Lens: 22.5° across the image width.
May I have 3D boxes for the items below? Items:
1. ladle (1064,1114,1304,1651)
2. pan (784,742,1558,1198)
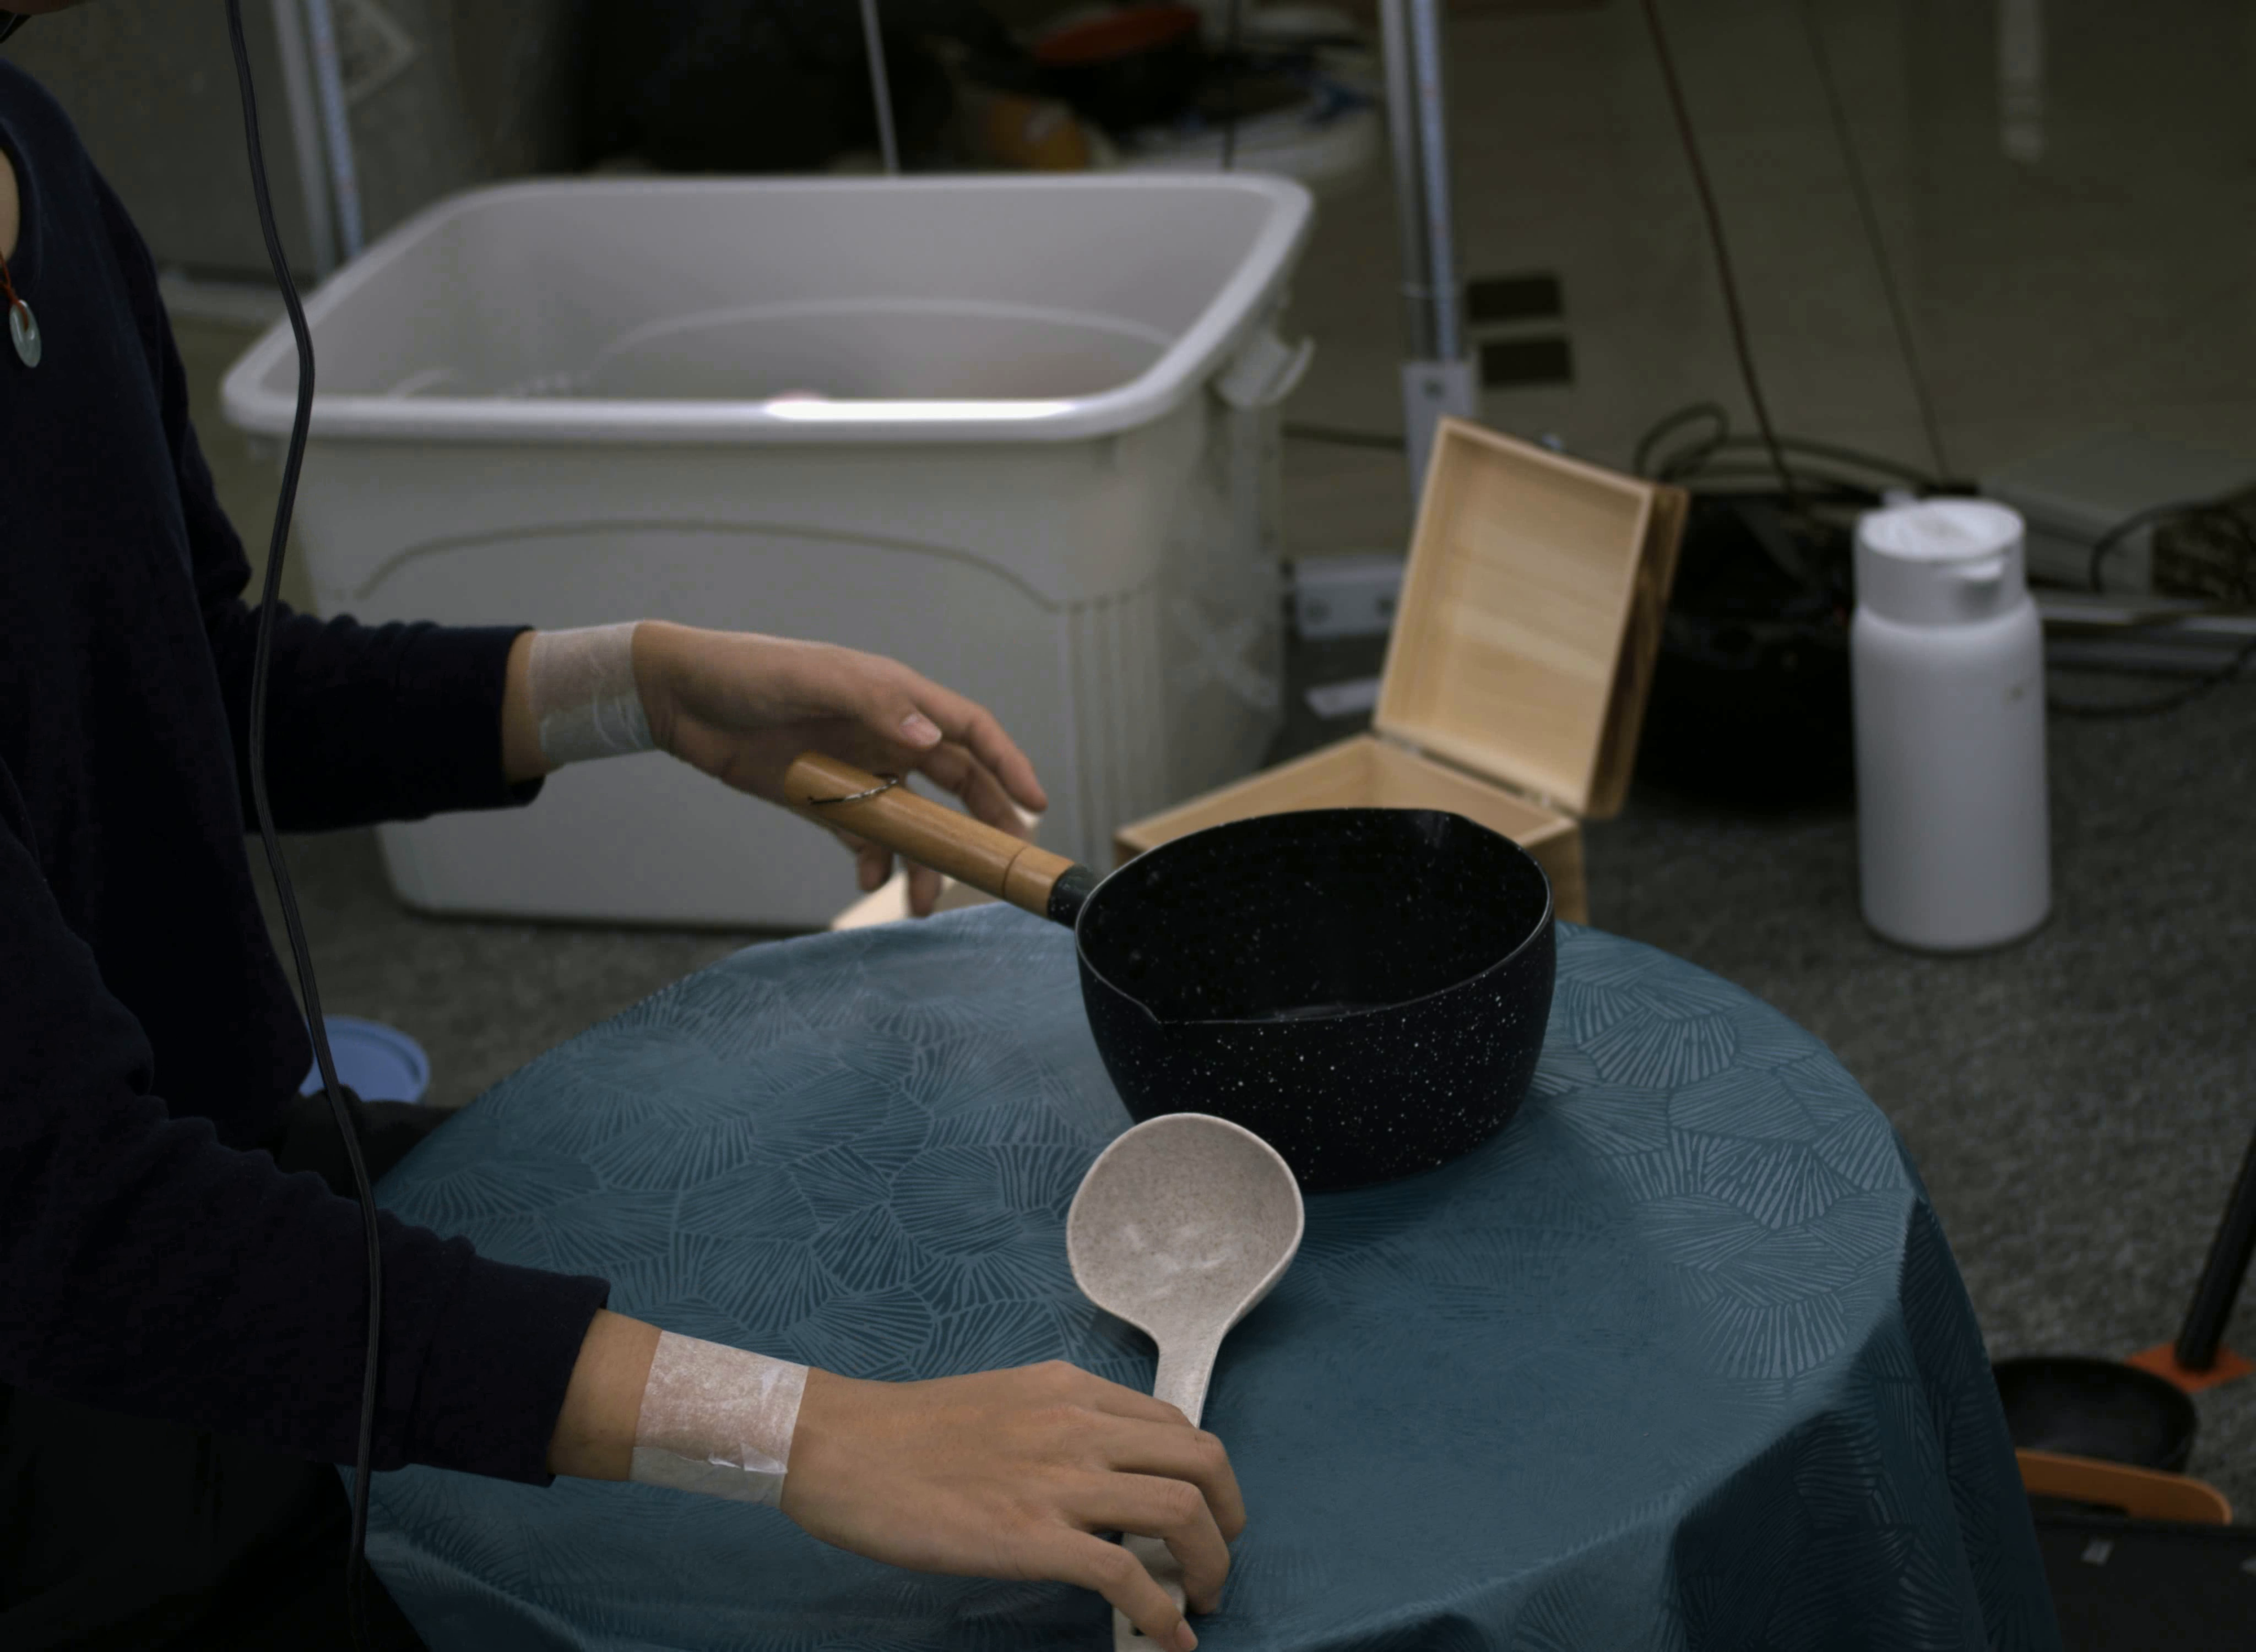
[{"bbox_3d":[0.010,0.192,1.950,0.089,0.070,0.271,-10,24,10],"label":"ladle"},{"bbox_3d":[0.008,0.046,2.213,0.341,0.110,0.205,12,32,31],"label":"pan"}]
